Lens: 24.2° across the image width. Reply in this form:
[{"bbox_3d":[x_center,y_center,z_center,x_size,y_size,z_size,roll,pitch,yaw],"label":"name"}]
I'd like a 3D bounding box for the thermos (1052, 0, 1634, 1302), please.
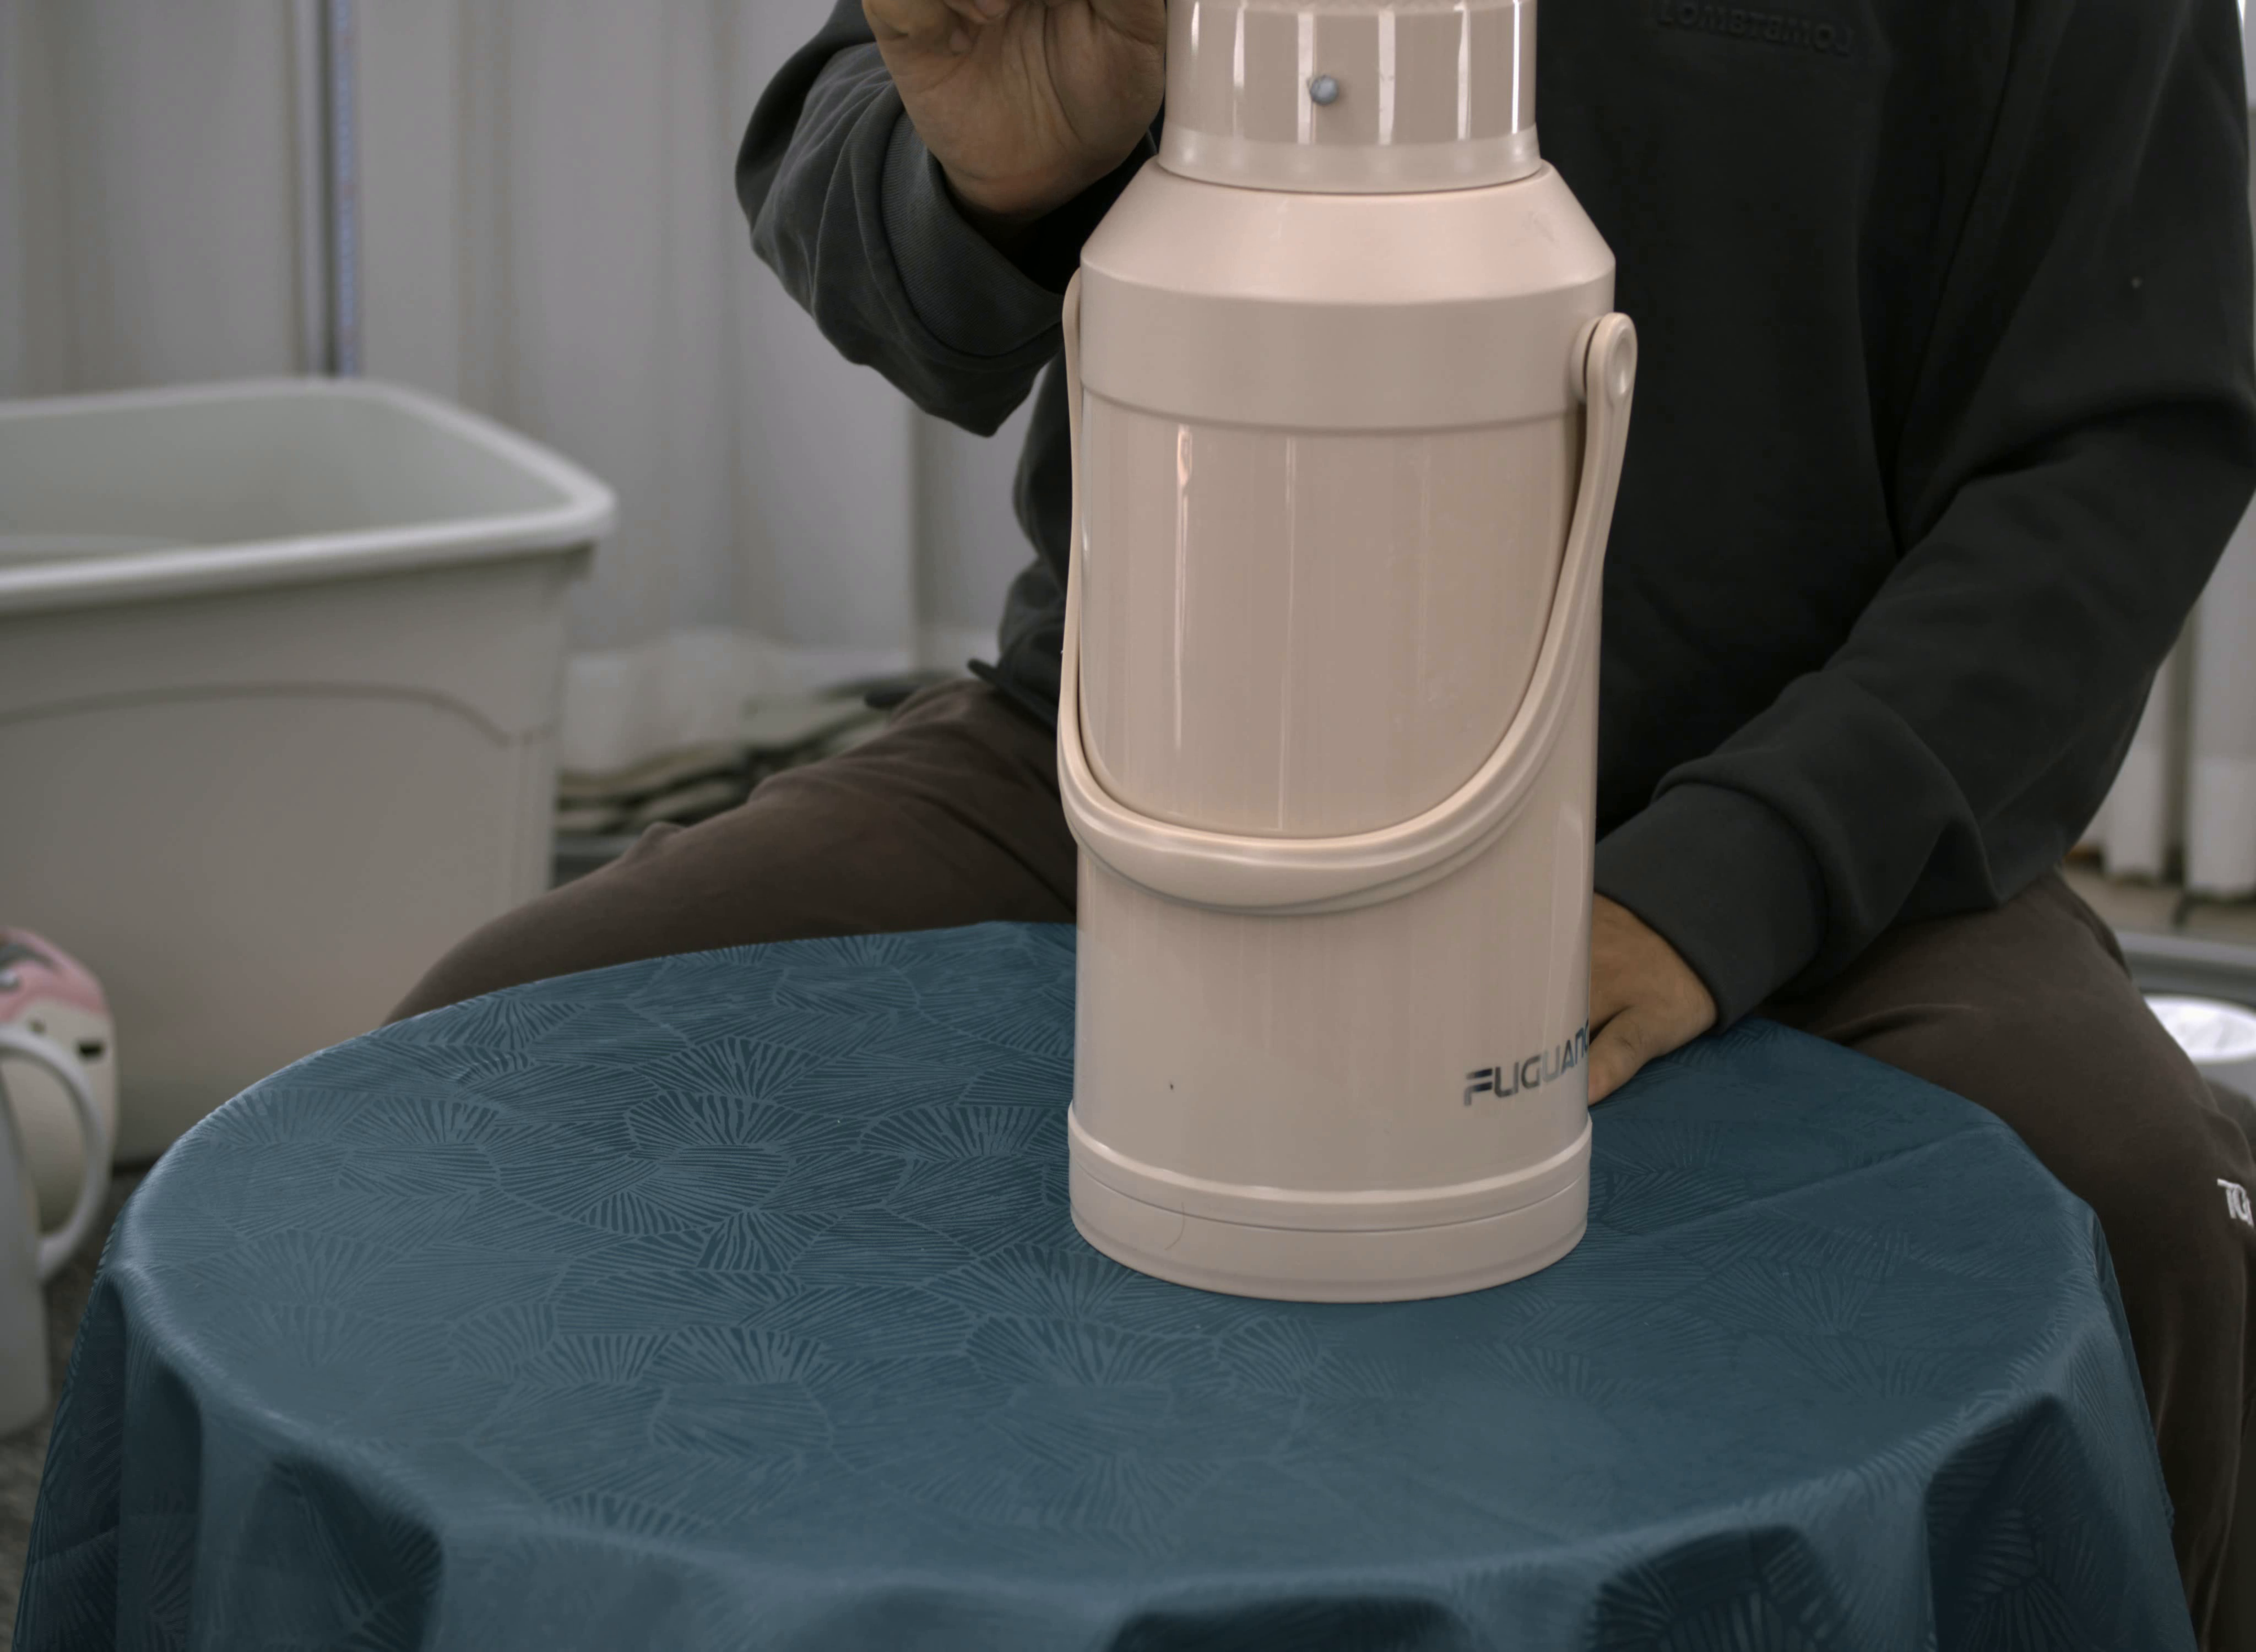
[{"bbox_3d":[0.069,-0.076,1.566,0.173,0.410,0.207,8,18,25],"label":"thermos"}]
